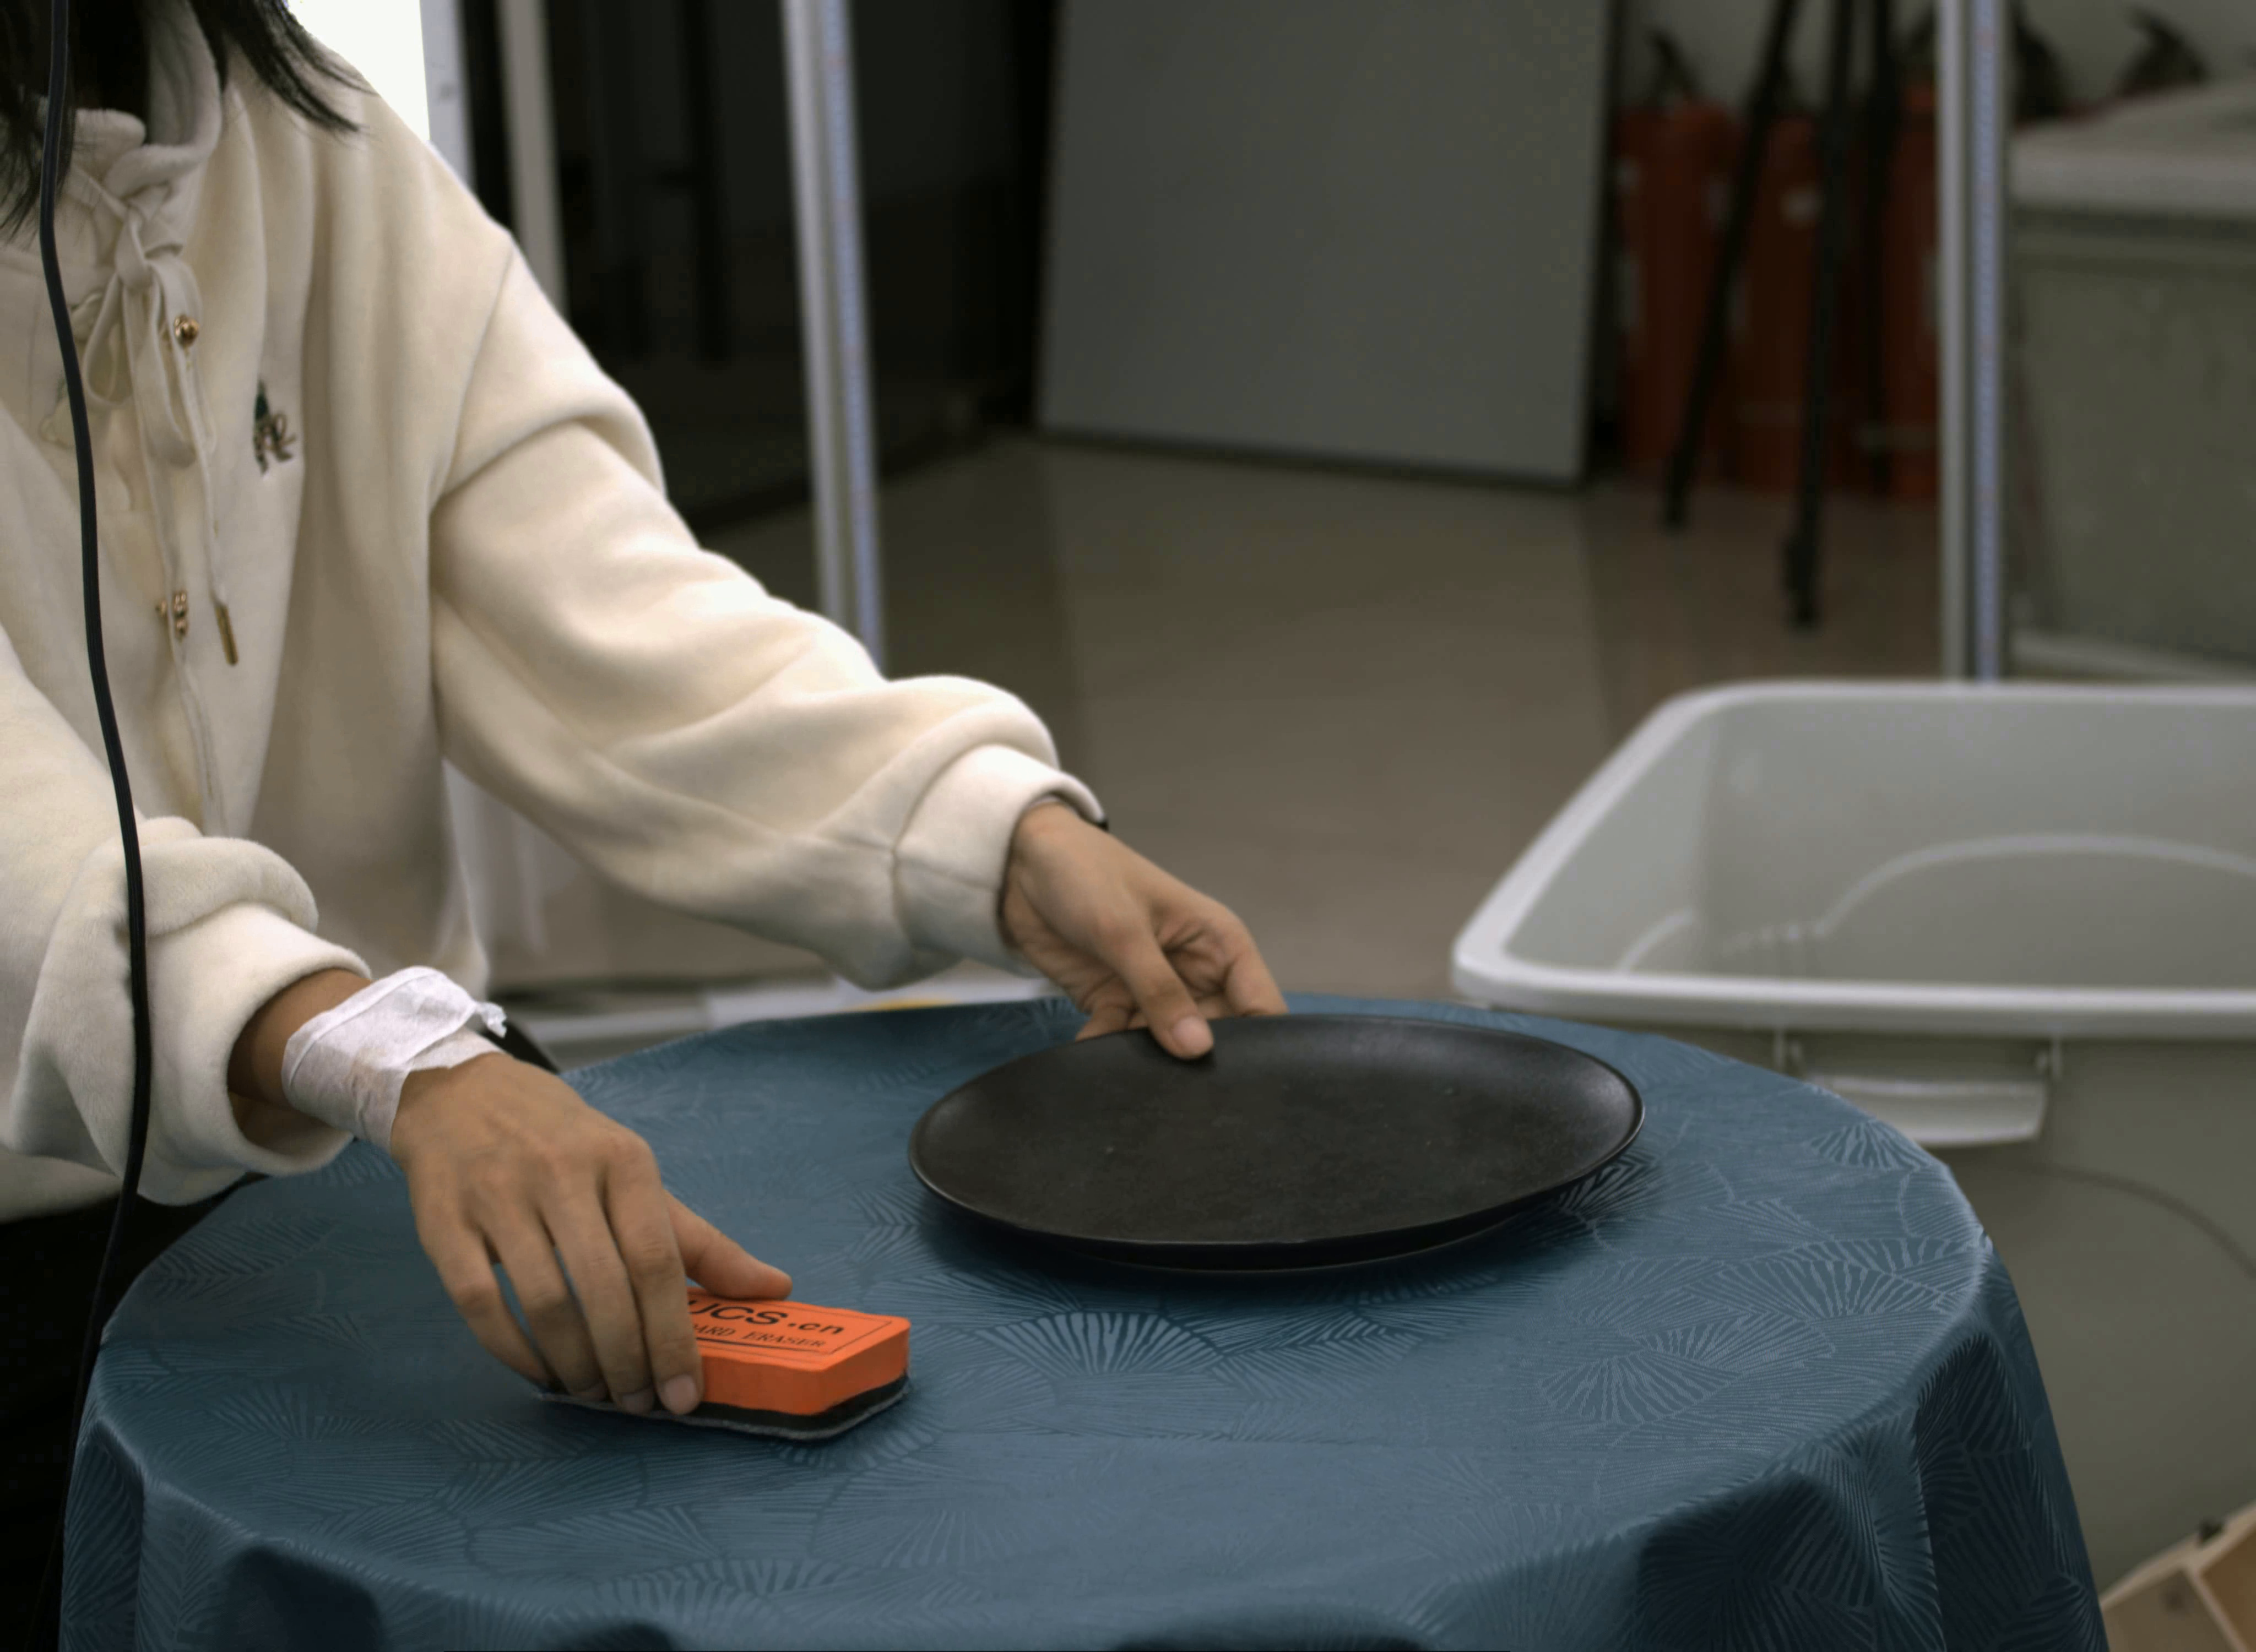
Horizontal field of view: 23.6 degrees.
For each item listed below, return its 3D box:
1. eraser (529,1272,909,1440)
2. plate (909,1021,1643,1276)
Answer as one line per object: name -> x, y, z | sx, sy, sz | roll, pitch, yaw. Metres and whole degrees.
eraser -> -0.121, 0.156, 1.598 | 0.108, 0.023, 0.058 | 7, 15, 32
plate -> 0.049, 0.107, 1.764 | 0.241, 0.024, 0.245 | -4, 14, 0
